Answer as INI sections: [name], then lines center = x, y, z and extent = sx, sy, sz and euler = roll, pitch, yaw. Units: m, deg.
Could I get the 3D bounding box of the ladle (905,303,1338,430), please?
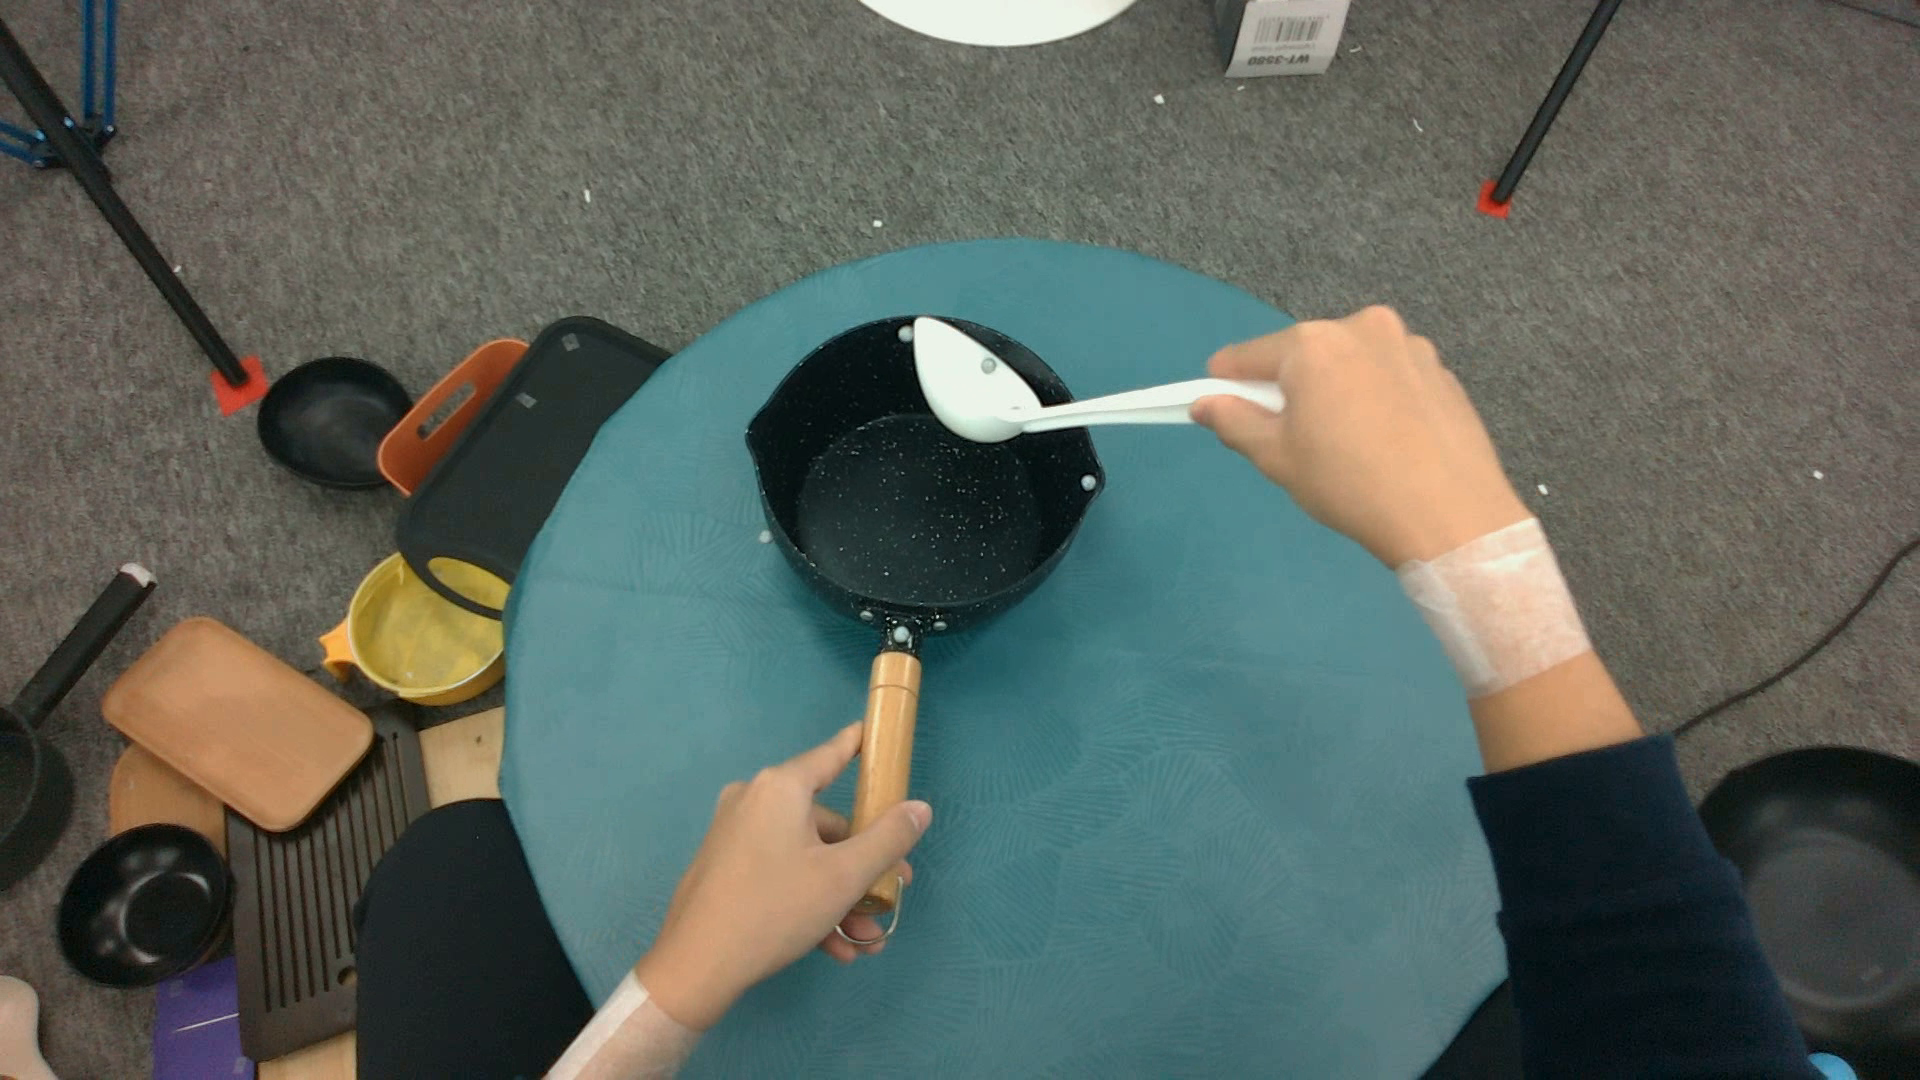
[ladle]
center = 0.068, -0.089, 0.683
extent = 0.090, 0.292, 0.070
euler = 34, 73, -32

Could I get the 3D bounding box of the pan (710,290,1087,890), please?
[pan]
center = -0.040, 0.025, 0.740
extent = 0.207, 0.108, 0.344
euler = 6, 63, -4
